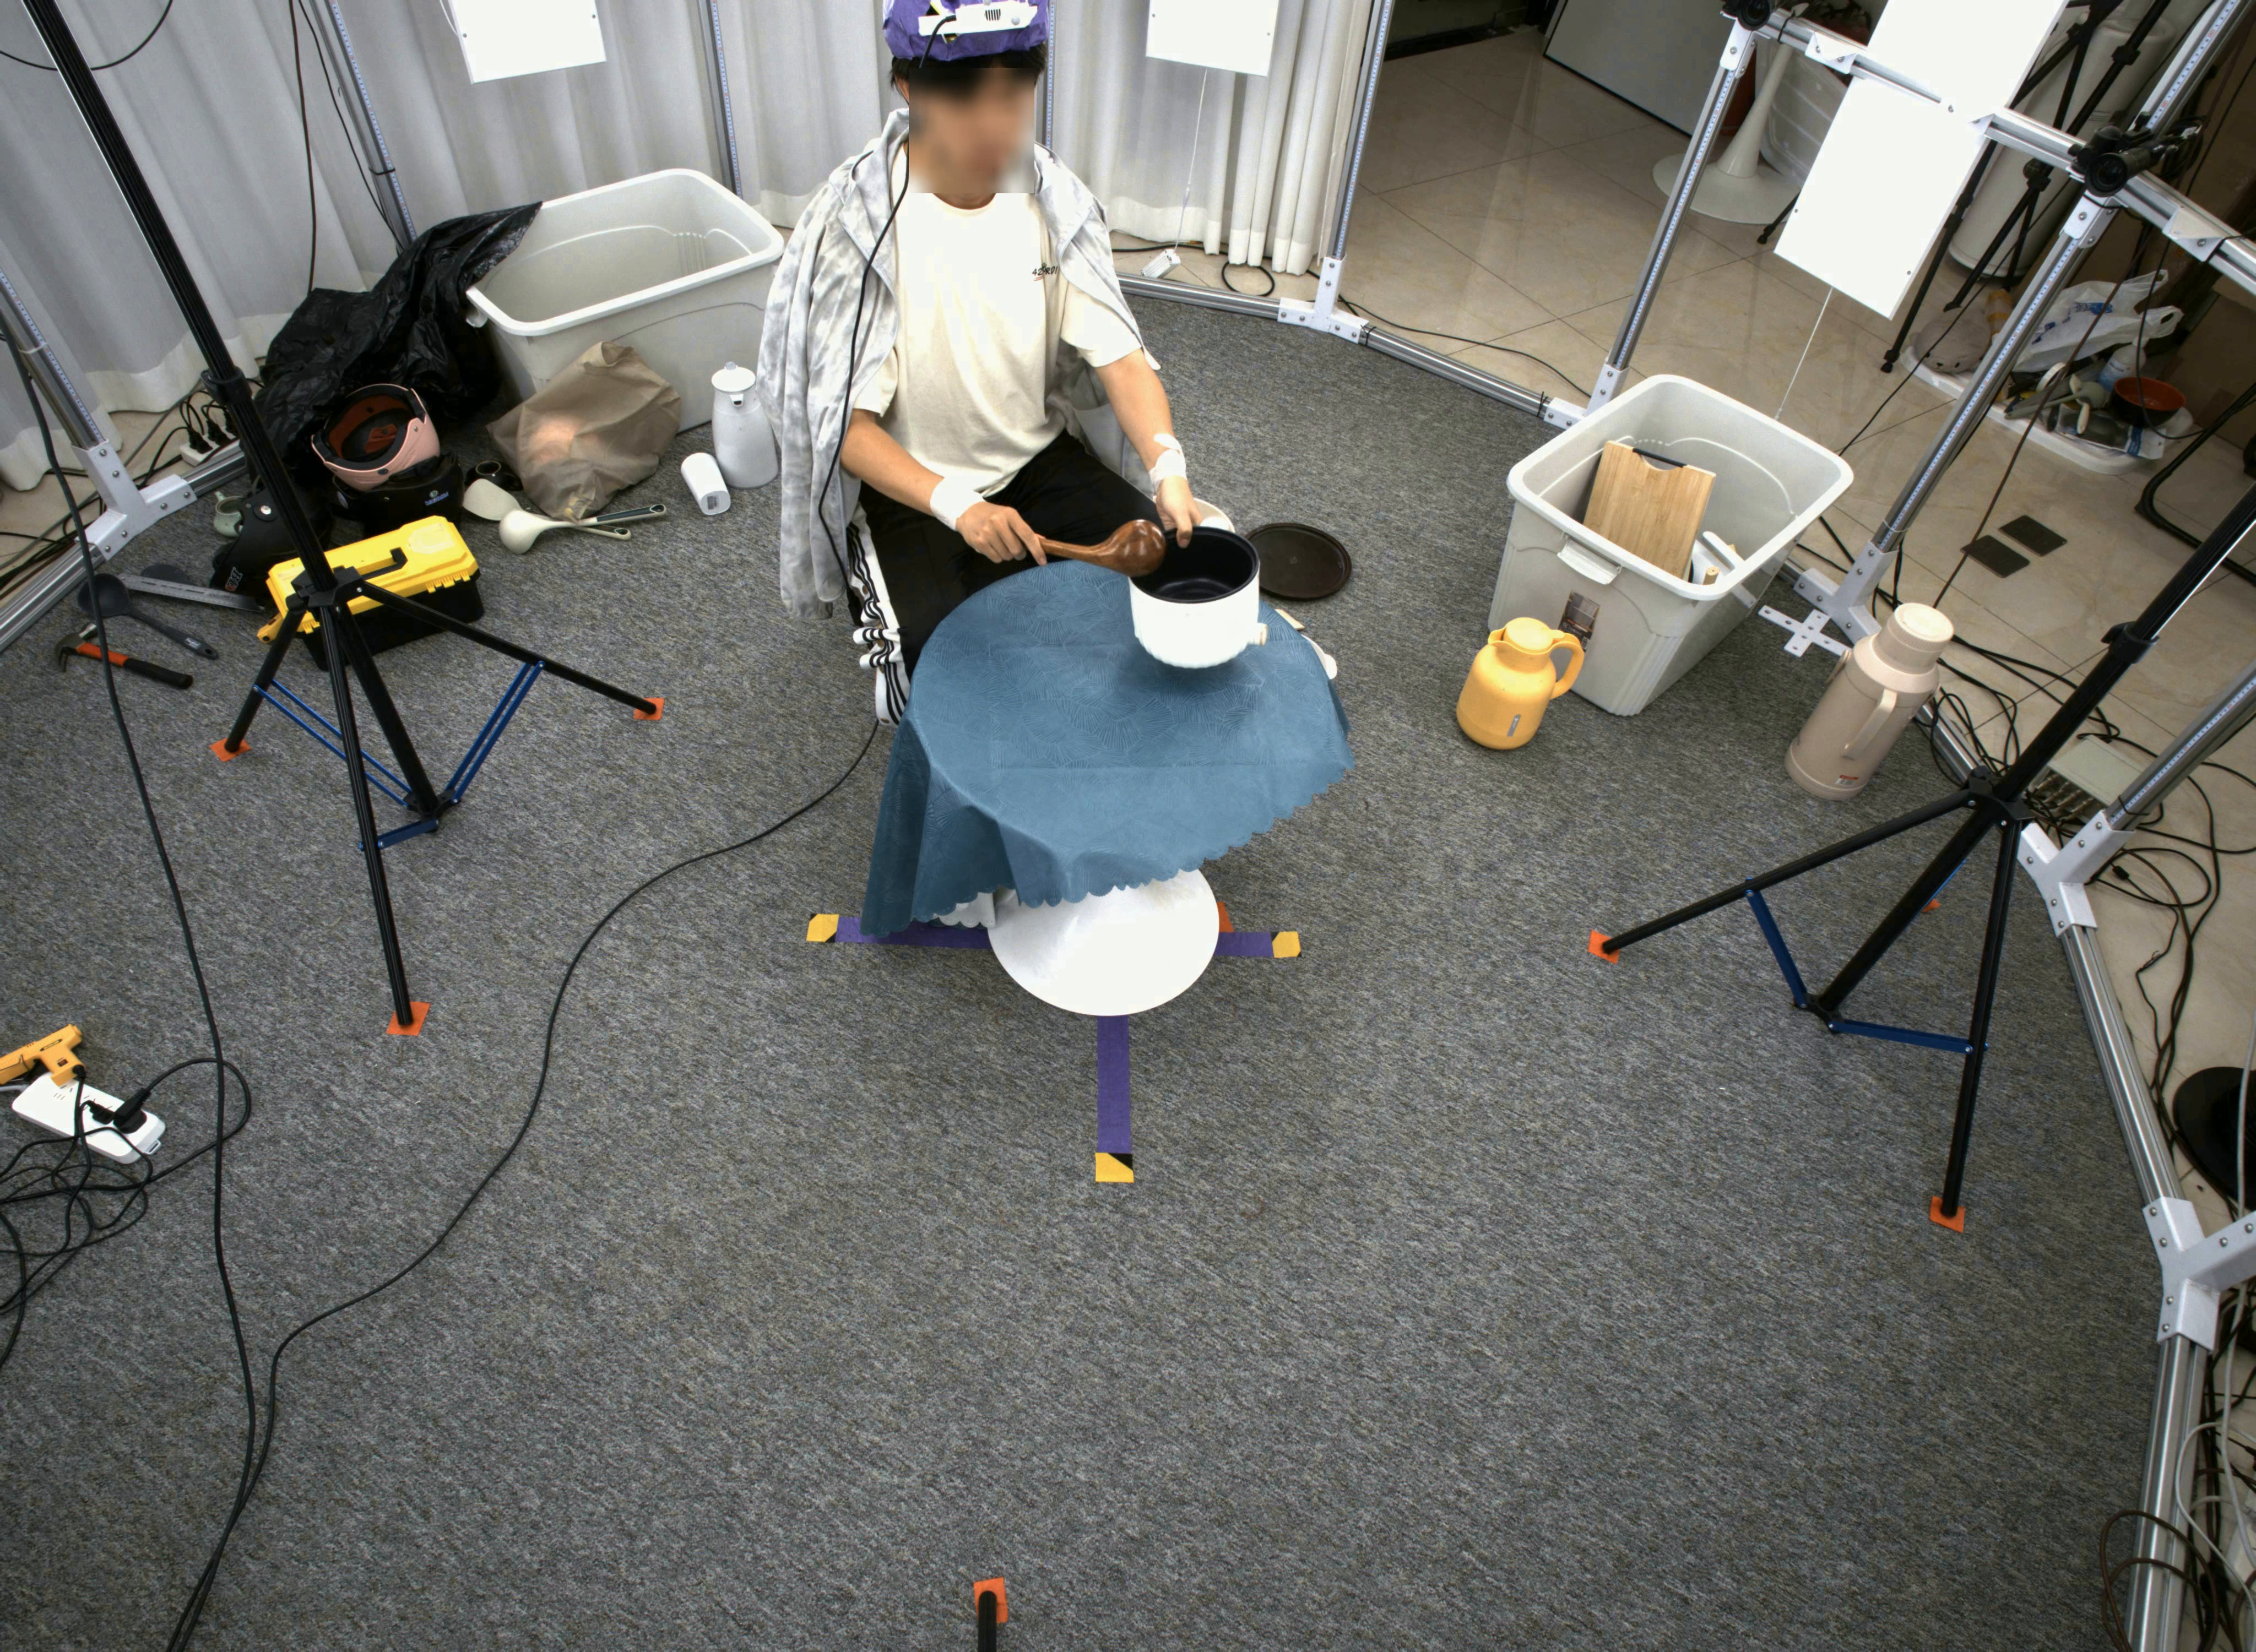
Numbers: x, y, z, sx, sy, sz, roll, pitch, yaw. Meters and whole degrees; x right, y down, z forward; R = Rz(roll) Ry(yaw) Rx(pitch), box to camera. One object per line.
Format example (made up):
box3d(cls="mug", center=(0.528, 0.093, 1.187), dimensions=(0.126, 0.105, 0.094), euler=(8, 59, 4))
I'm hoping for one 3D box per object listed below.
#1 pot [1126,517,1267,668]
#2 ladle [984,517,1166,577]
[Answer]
box3d(cls="pot", center=(0.099, -0.316, 1.804), dimensions=(0.191, 0.139, 0.245), euler=(8, 47, 19))
box3d(cls="ladle", center=(-0.074, -0.393, 1.780), dimensions=(0.276, 0.080, 0.077), euler=(14, 39, 34))
